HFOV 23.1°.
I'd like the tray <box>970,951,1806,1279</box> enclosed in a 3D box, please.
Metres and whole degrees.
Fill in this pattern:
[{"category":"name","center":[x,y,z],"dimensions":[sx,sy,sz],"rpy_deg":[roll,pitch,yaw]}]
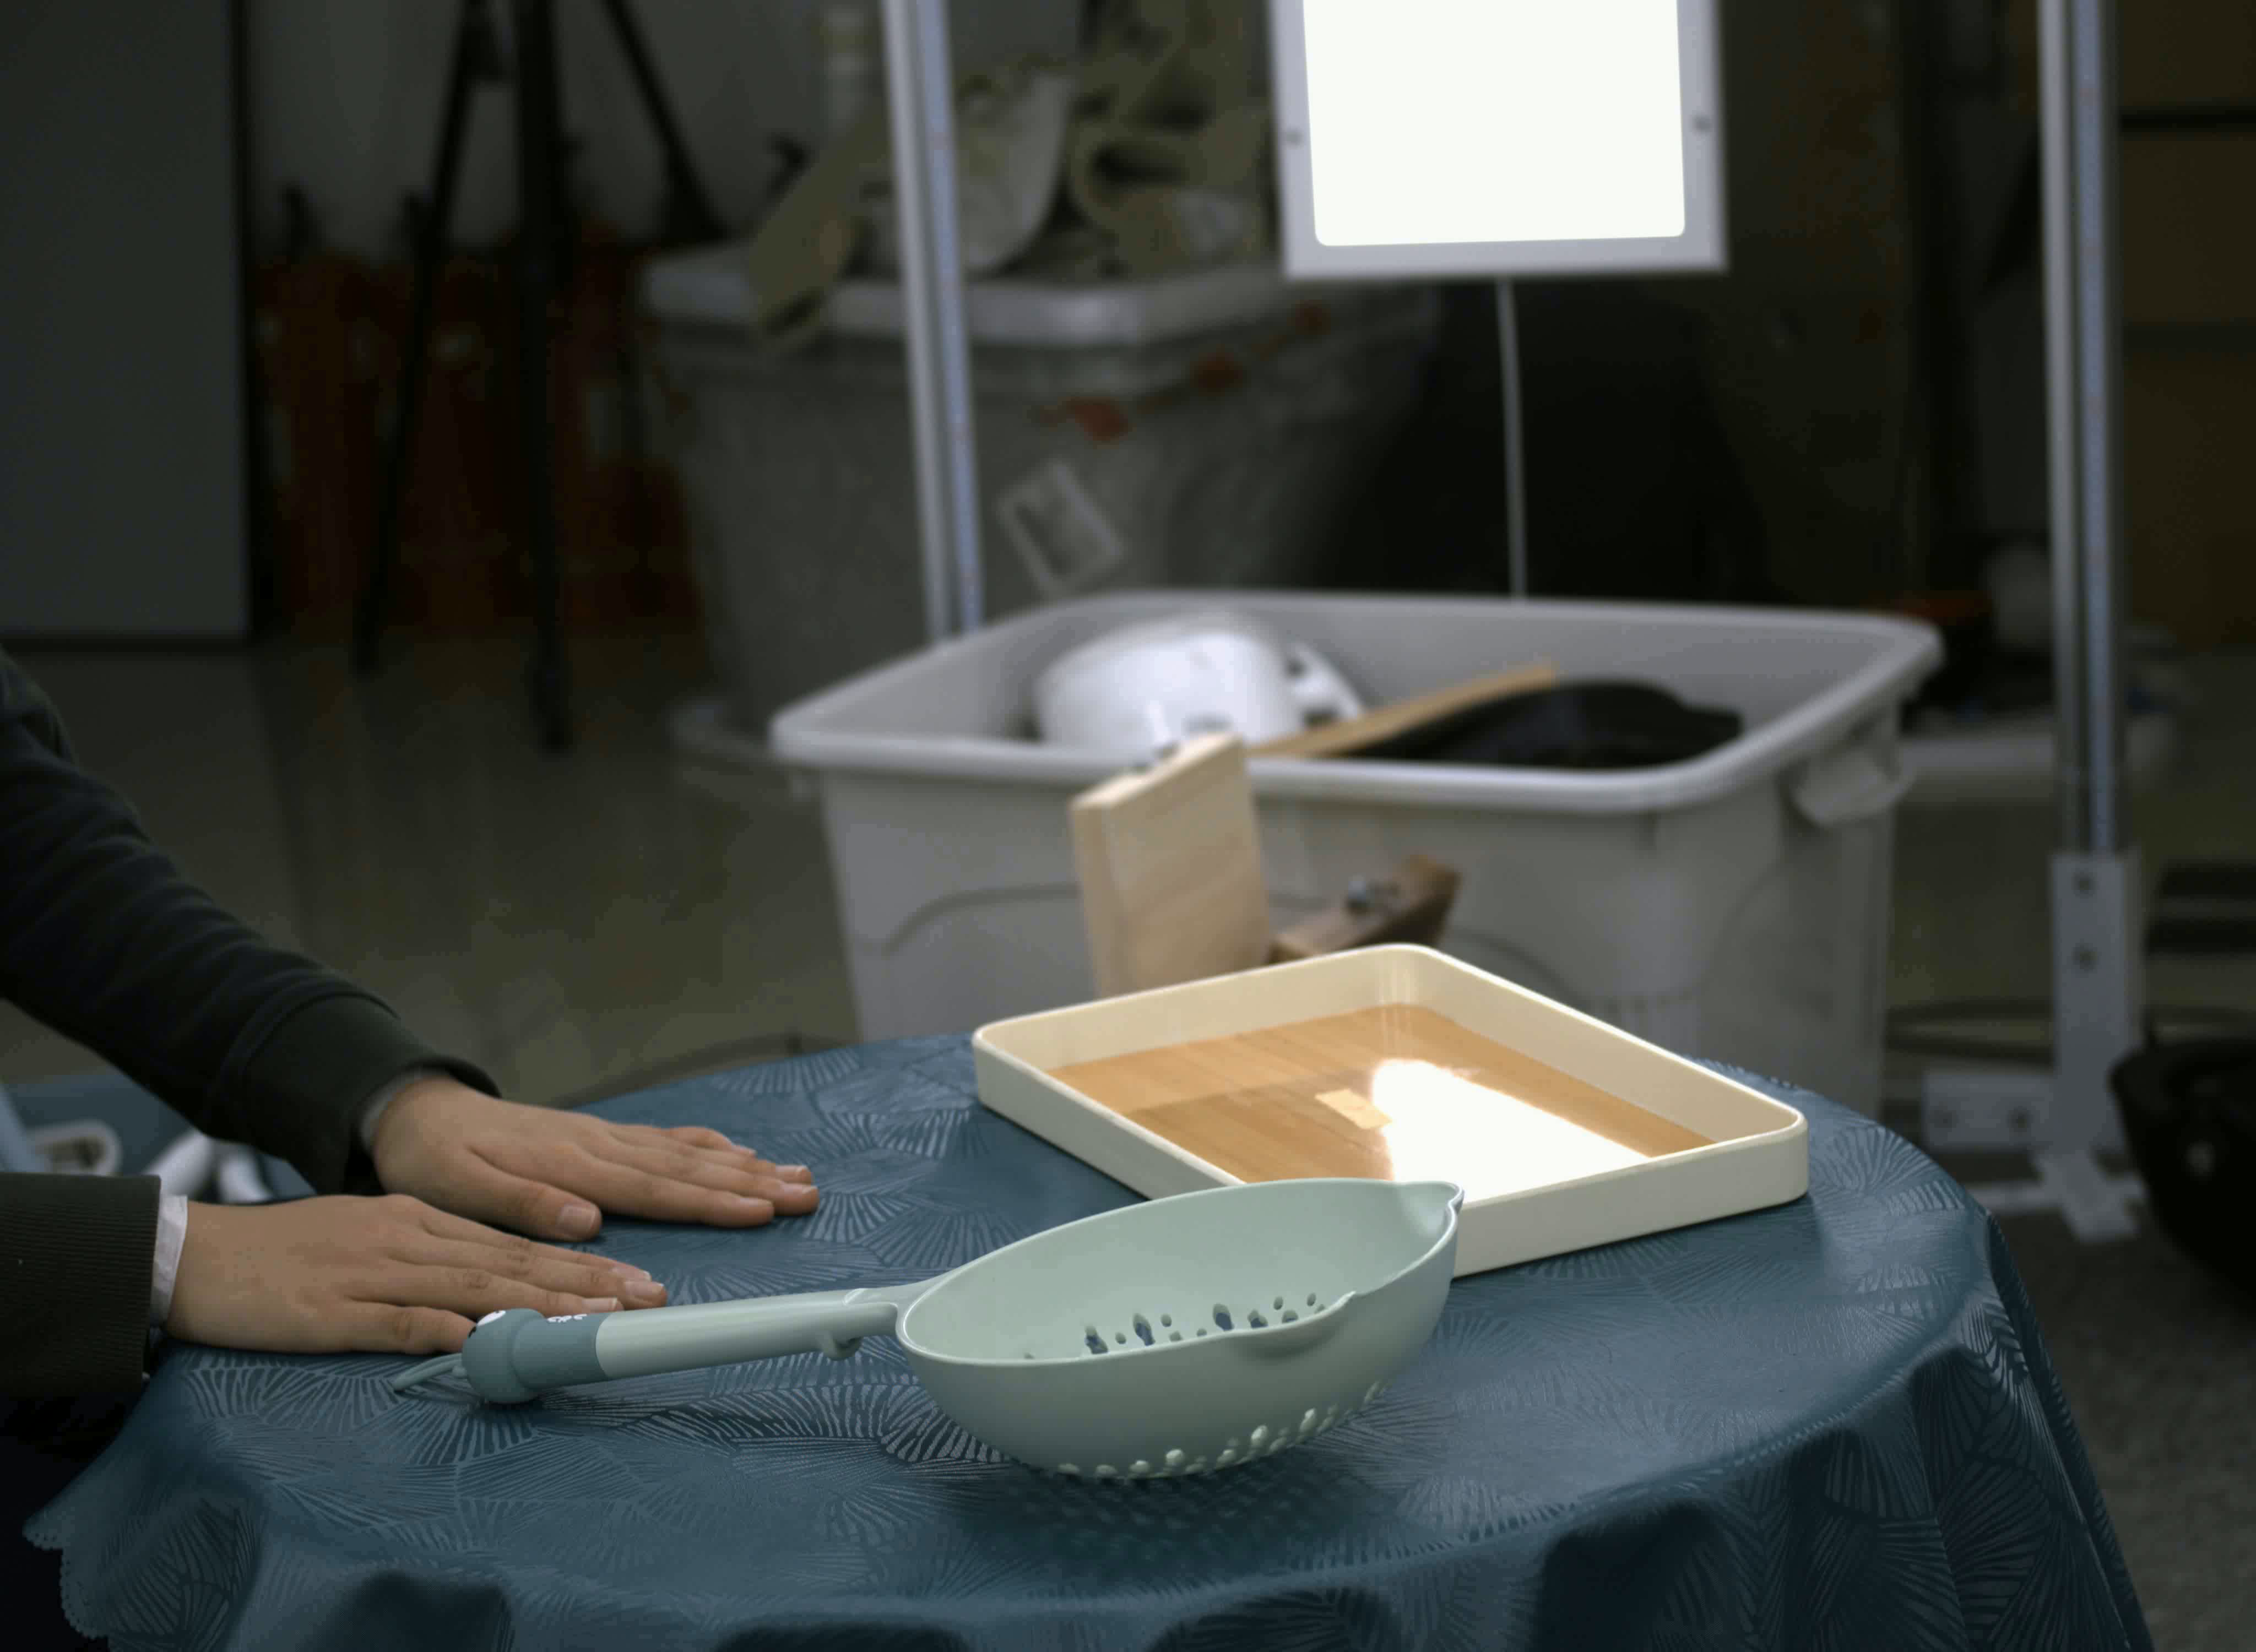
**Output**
[{"category":"tray","center":[0.085,0.099,1.922],"dimensions":[0.188,0.027,0.305],"rpy_deg":[-10,14,-22]}]

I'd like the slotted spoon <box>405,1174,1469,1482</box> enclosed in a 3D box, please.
[{"category":"slotted spoon","center":[-0.069,0.153,1.678],"dimensions":[0.365,0.075,0.166],"rpy_deg":[2,15,26]}]
